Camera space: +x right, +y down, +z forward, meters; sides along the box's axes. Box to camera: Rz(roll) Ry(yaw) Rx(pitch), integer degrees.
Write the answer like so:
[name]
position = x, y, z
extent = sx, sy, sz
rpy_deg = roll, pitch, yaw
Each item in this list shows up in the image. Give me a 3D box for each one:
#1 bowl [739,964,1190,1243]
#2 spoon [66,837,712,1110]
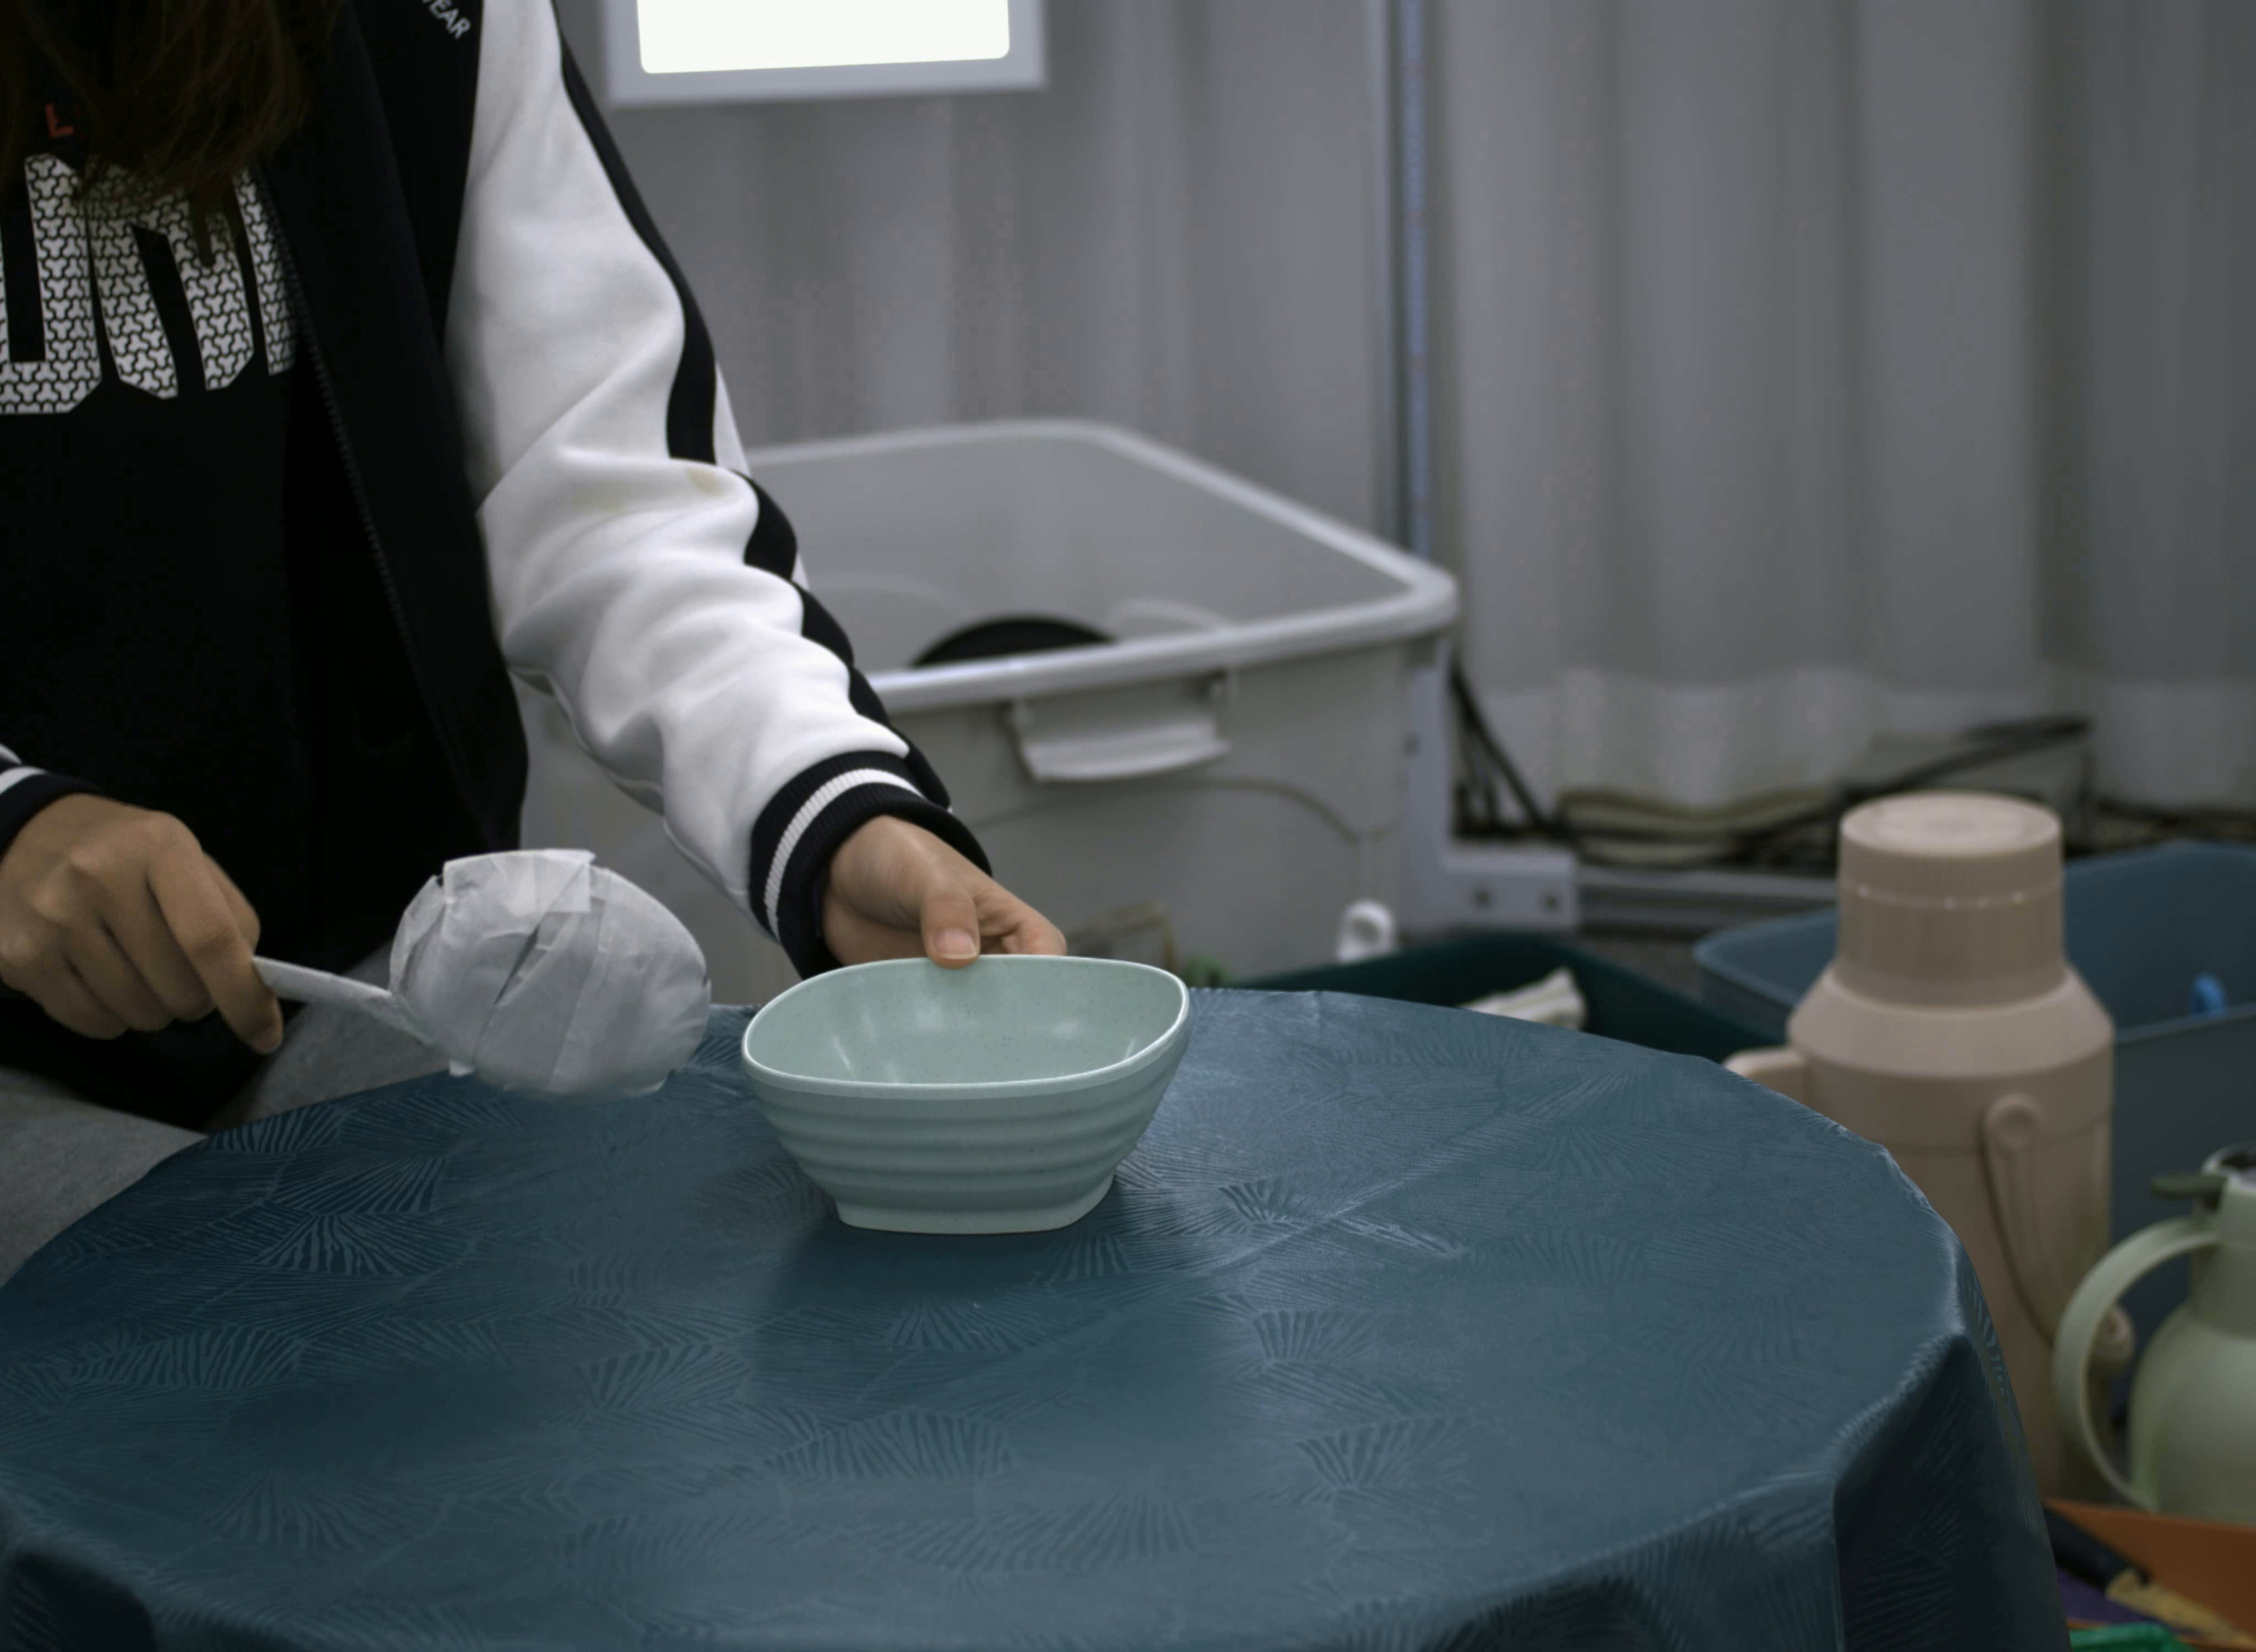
[bowl]
position = -0.050, 0.090, 1.715
extent = 0.151, 0.058, 0.152
rpy_deg = -2, 14, 0
[spoon]
position = -0.229, 0.036, 1.658
extent = 0.059, 0.100, 0.279
rpy_deg = -41, 29, -29
